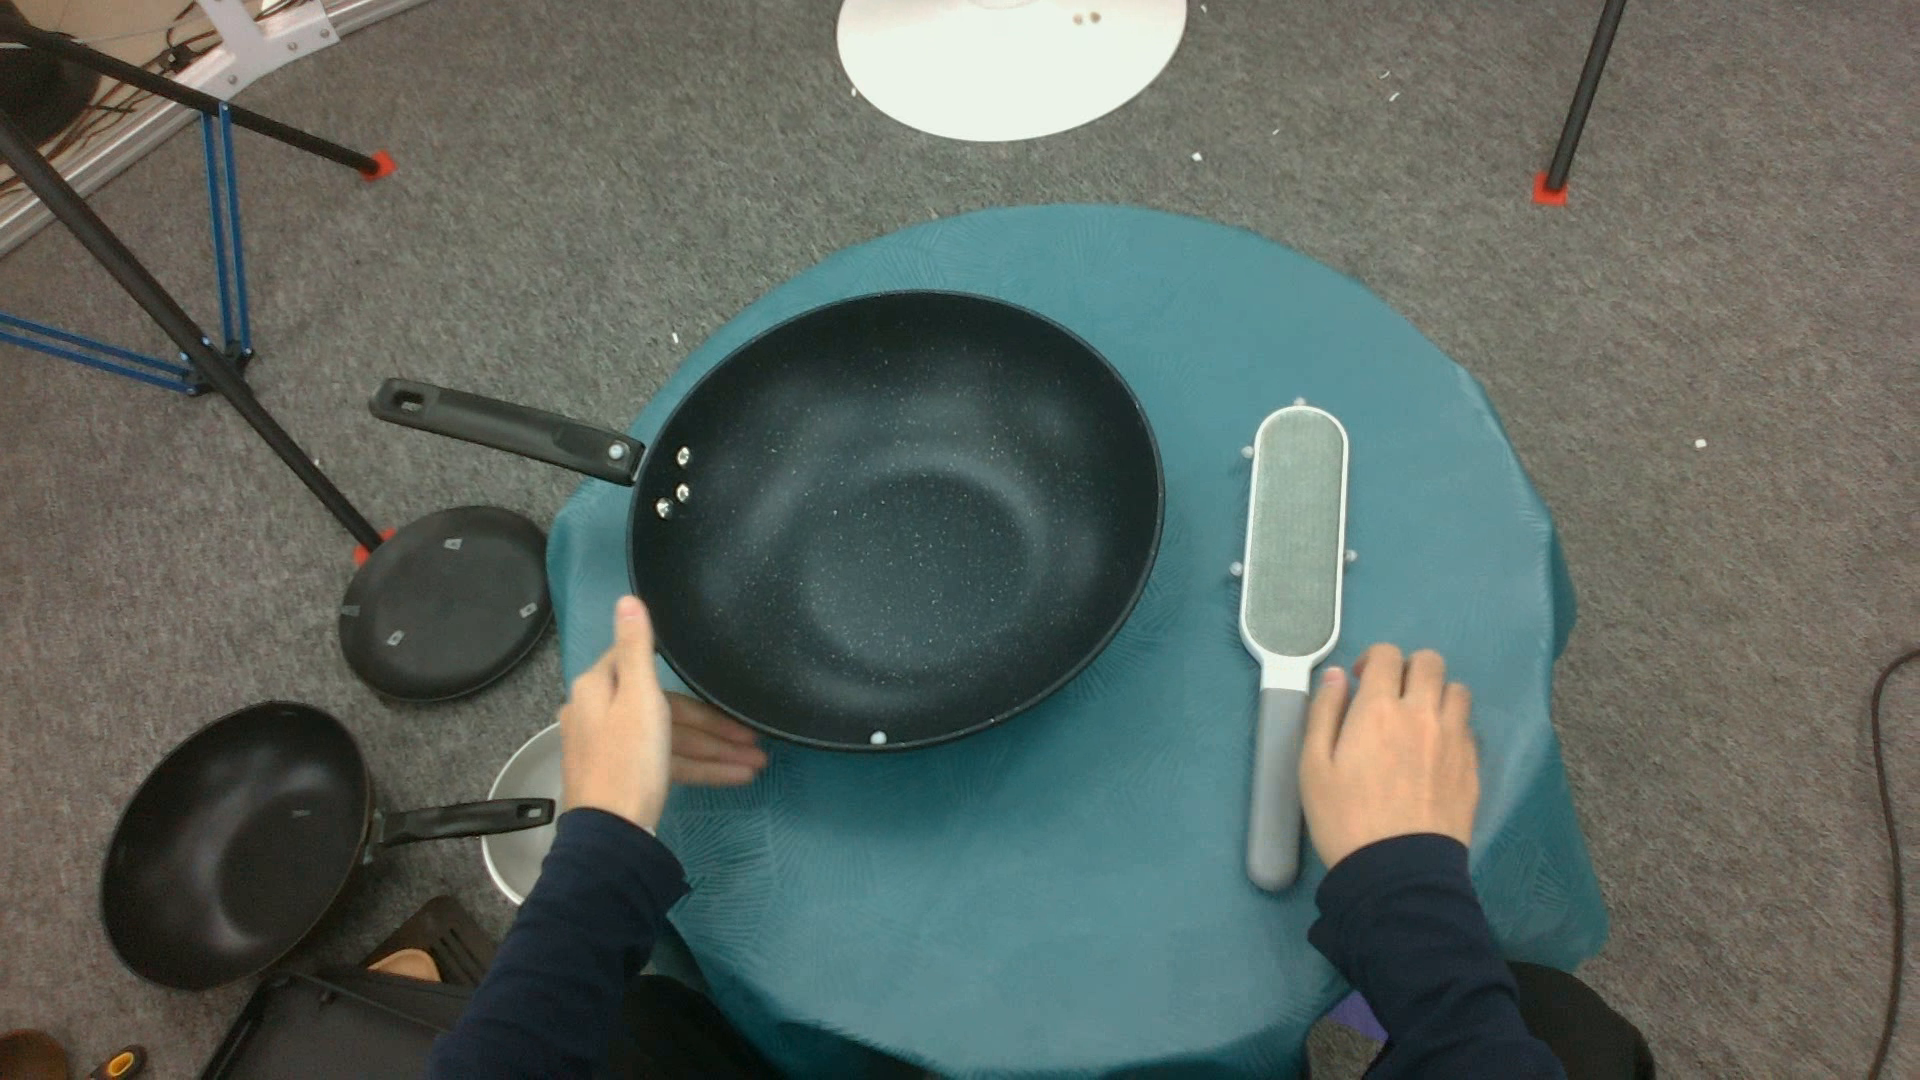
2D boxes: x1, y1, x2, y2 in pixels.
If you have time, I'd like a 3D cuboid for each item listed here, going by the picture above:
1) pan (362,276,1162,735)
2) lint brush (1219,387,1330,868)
[{"bbox_3d":[-0.120,-0.031,0.819,0.476,0.111,0.311,9,59,11],"label":"pan"},{"bbox_3d":[0.179,0.038,0.794,0.060,0.021,0.310,9,60,4],"label":"lint brush"}]
